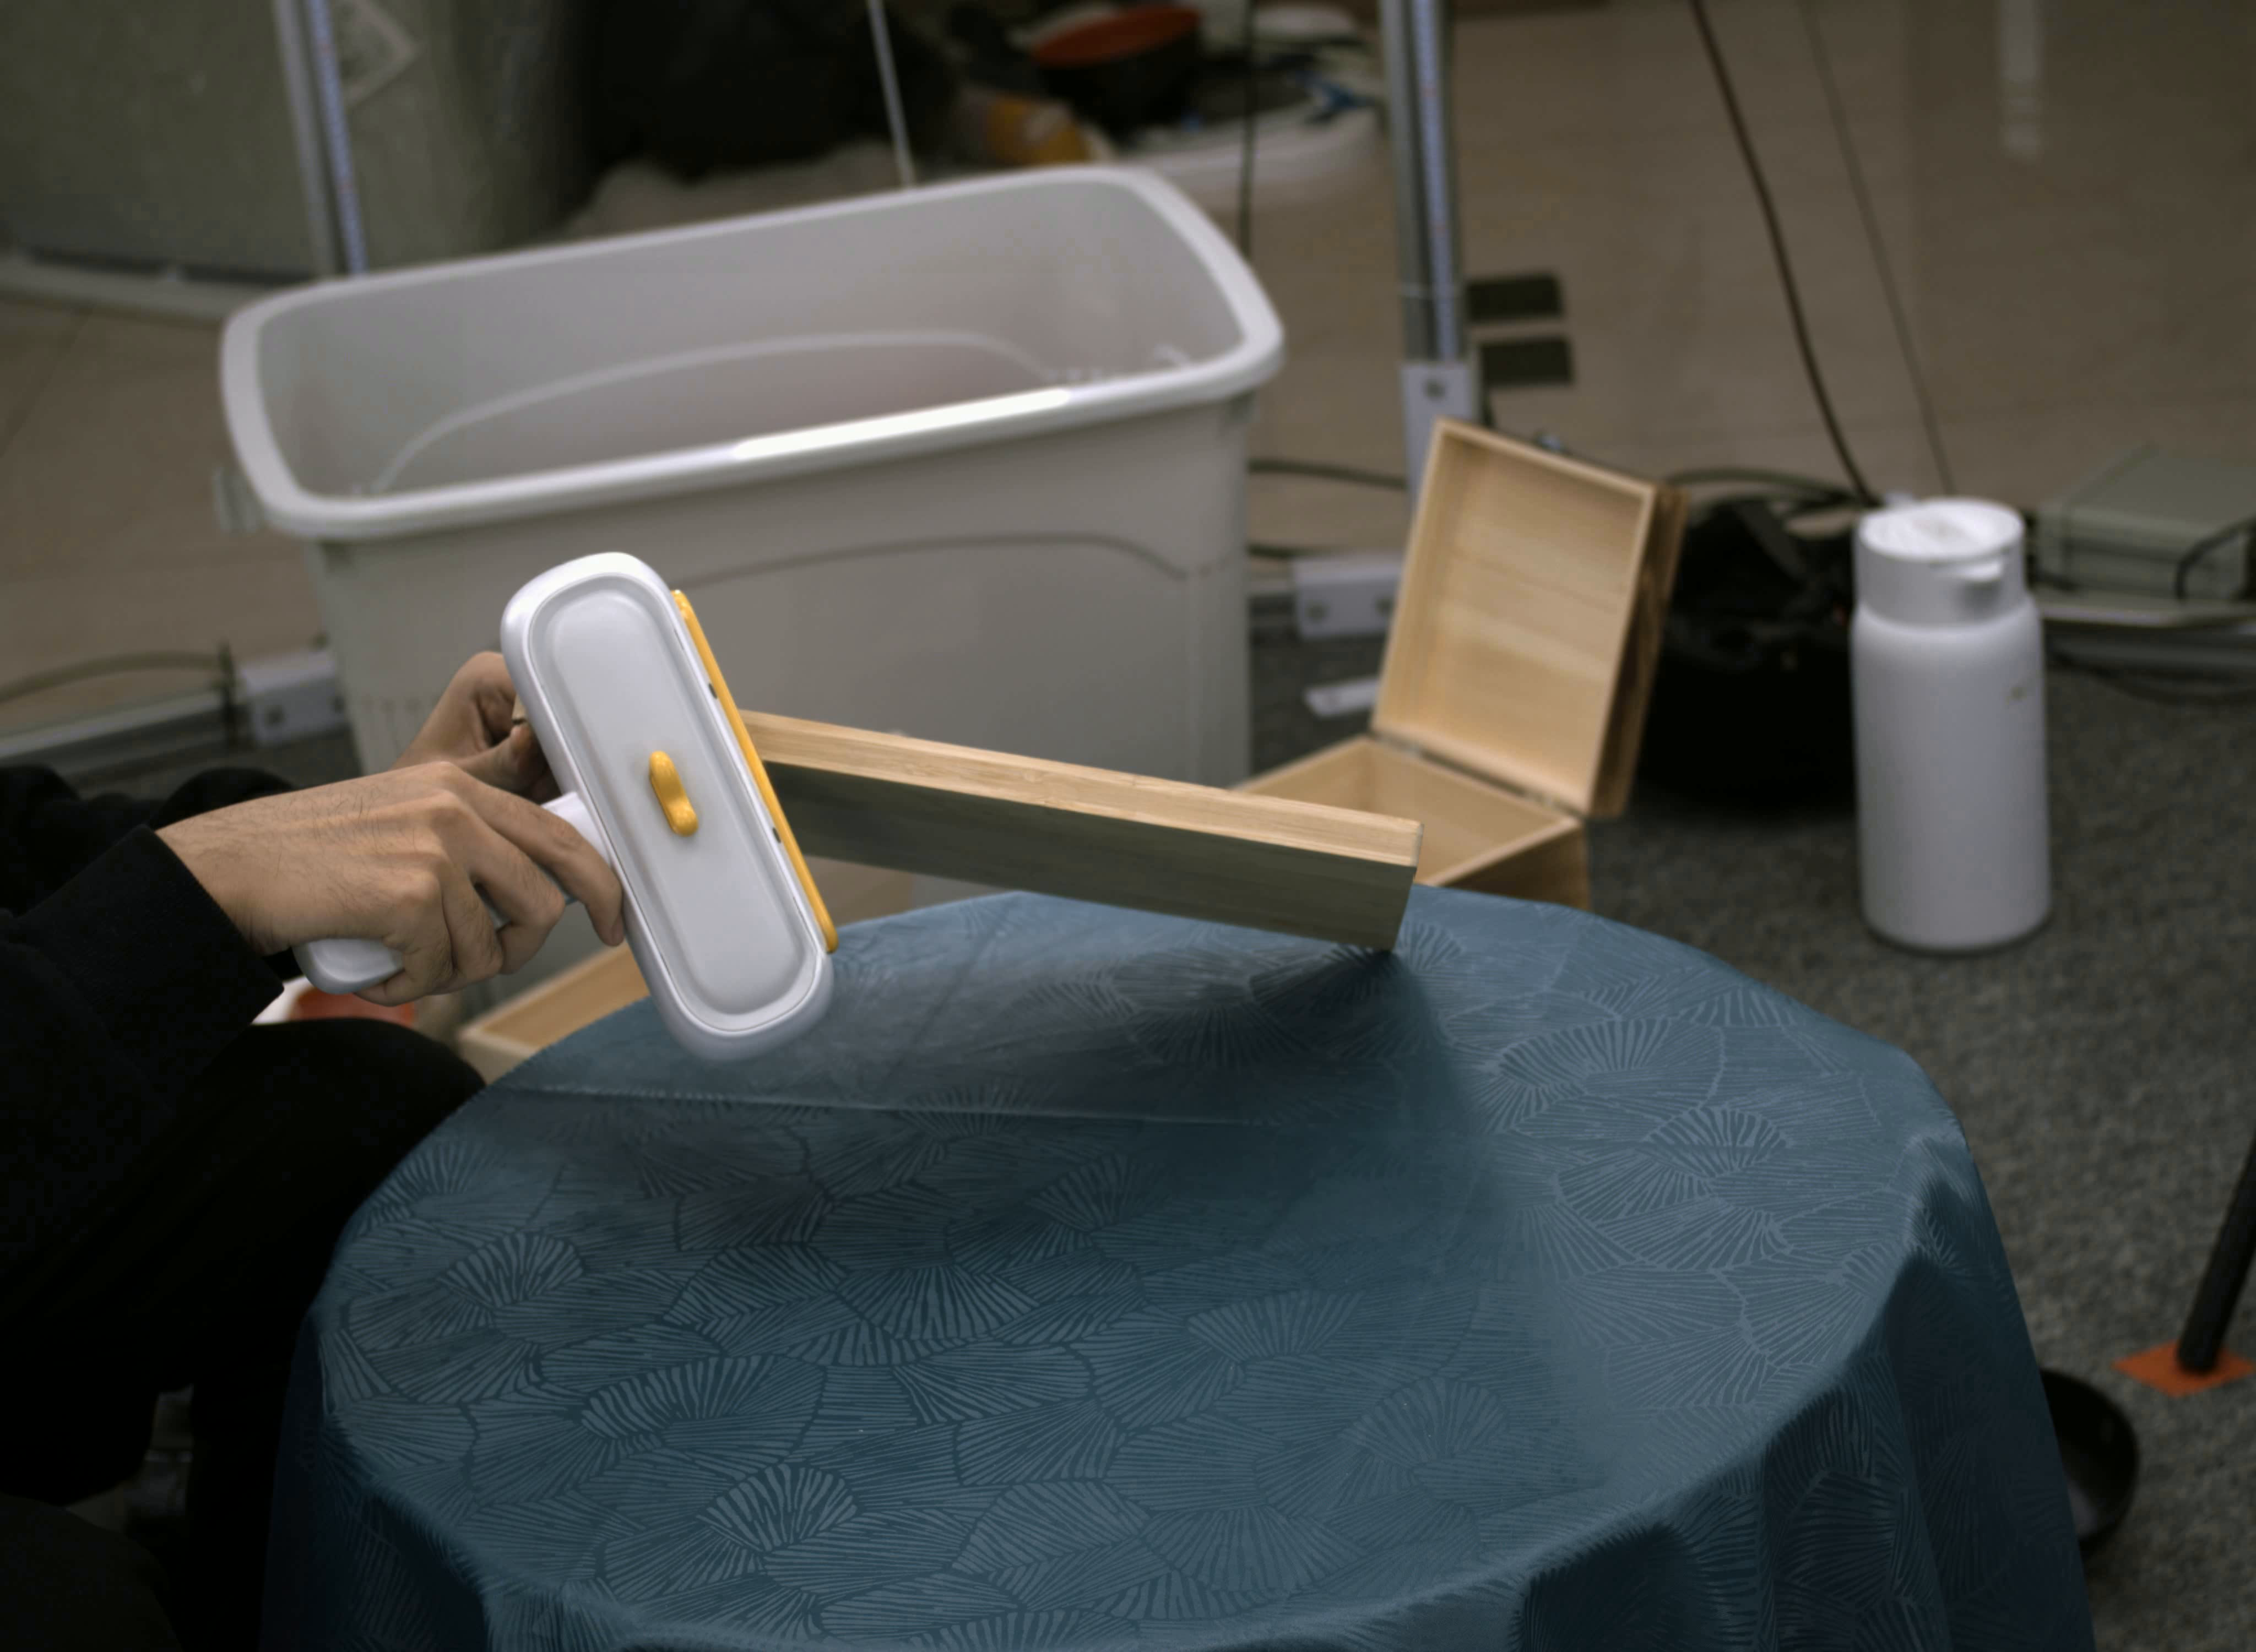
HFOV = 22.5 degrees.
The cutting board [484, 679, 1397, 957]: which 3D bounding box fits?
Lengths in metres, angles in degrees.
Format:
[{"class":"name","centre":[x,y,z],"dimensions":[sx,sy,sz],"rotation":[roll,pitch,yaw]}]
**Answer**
[{"class":"cutting board","centre":[-0.065,-0.002,2.196],"dimensions":[0.348,0.023,0.252],"rotation":[9,-9,1]}]

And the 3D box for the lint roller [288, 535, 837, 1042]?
[{"class":"lint roller","centre":[-0.217,0.012,2.027],"dimensions":[0.191,0.194,0.074],"rotation":[-28,6,-18]}]
